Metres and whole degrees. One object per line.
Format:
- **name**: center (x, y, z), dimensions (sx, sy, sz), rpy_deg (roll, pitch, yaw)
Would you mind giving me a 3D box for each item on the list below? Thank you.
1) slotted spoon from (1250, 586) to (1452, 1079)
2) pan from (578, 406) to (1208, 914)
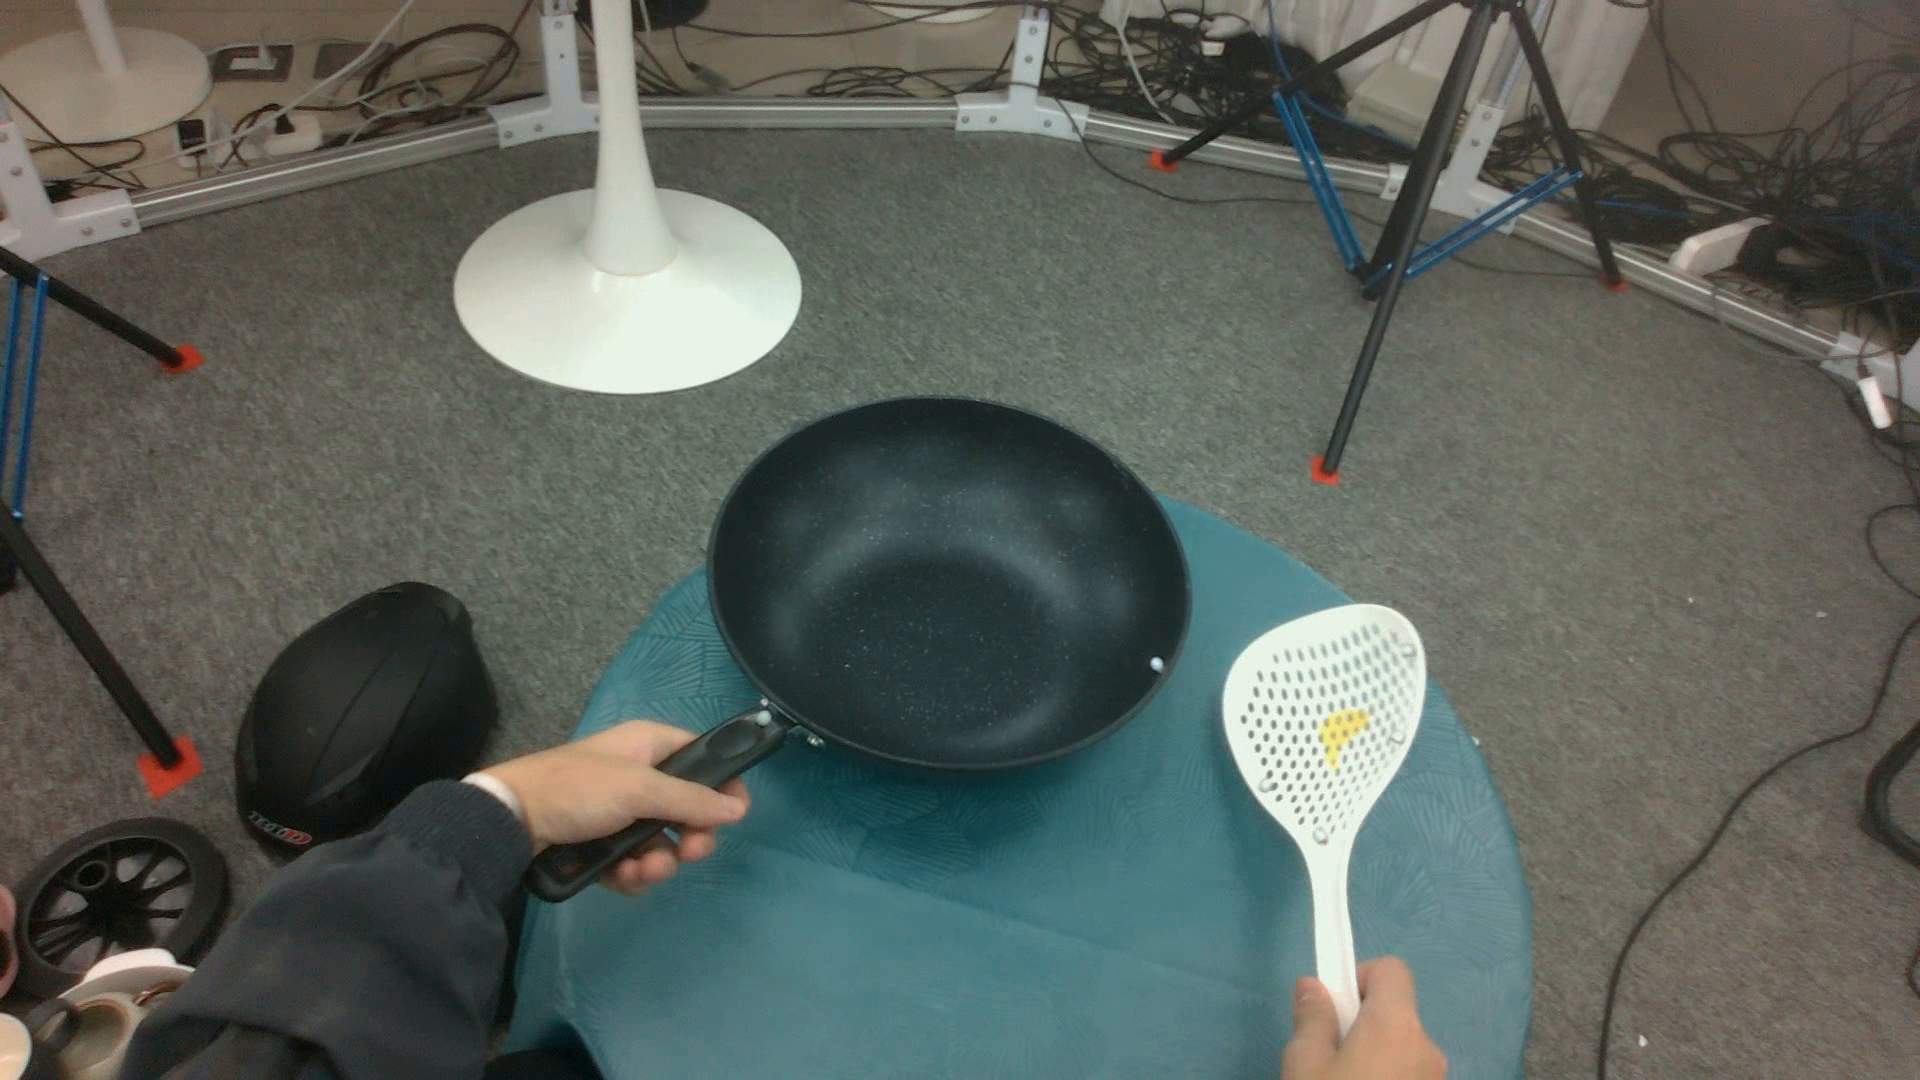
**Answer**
- **slotted spoon**: center (0.238, 0.171, 0.802), dimensions (0.136, 0.050, 0.350), rpy_deg (-24, 33, 31)
- **pan**: center (-0.045, 0.083, 0.863), dimensions (0.310, 0.111, 0.479), rpy_deg (30, 51, 22)
